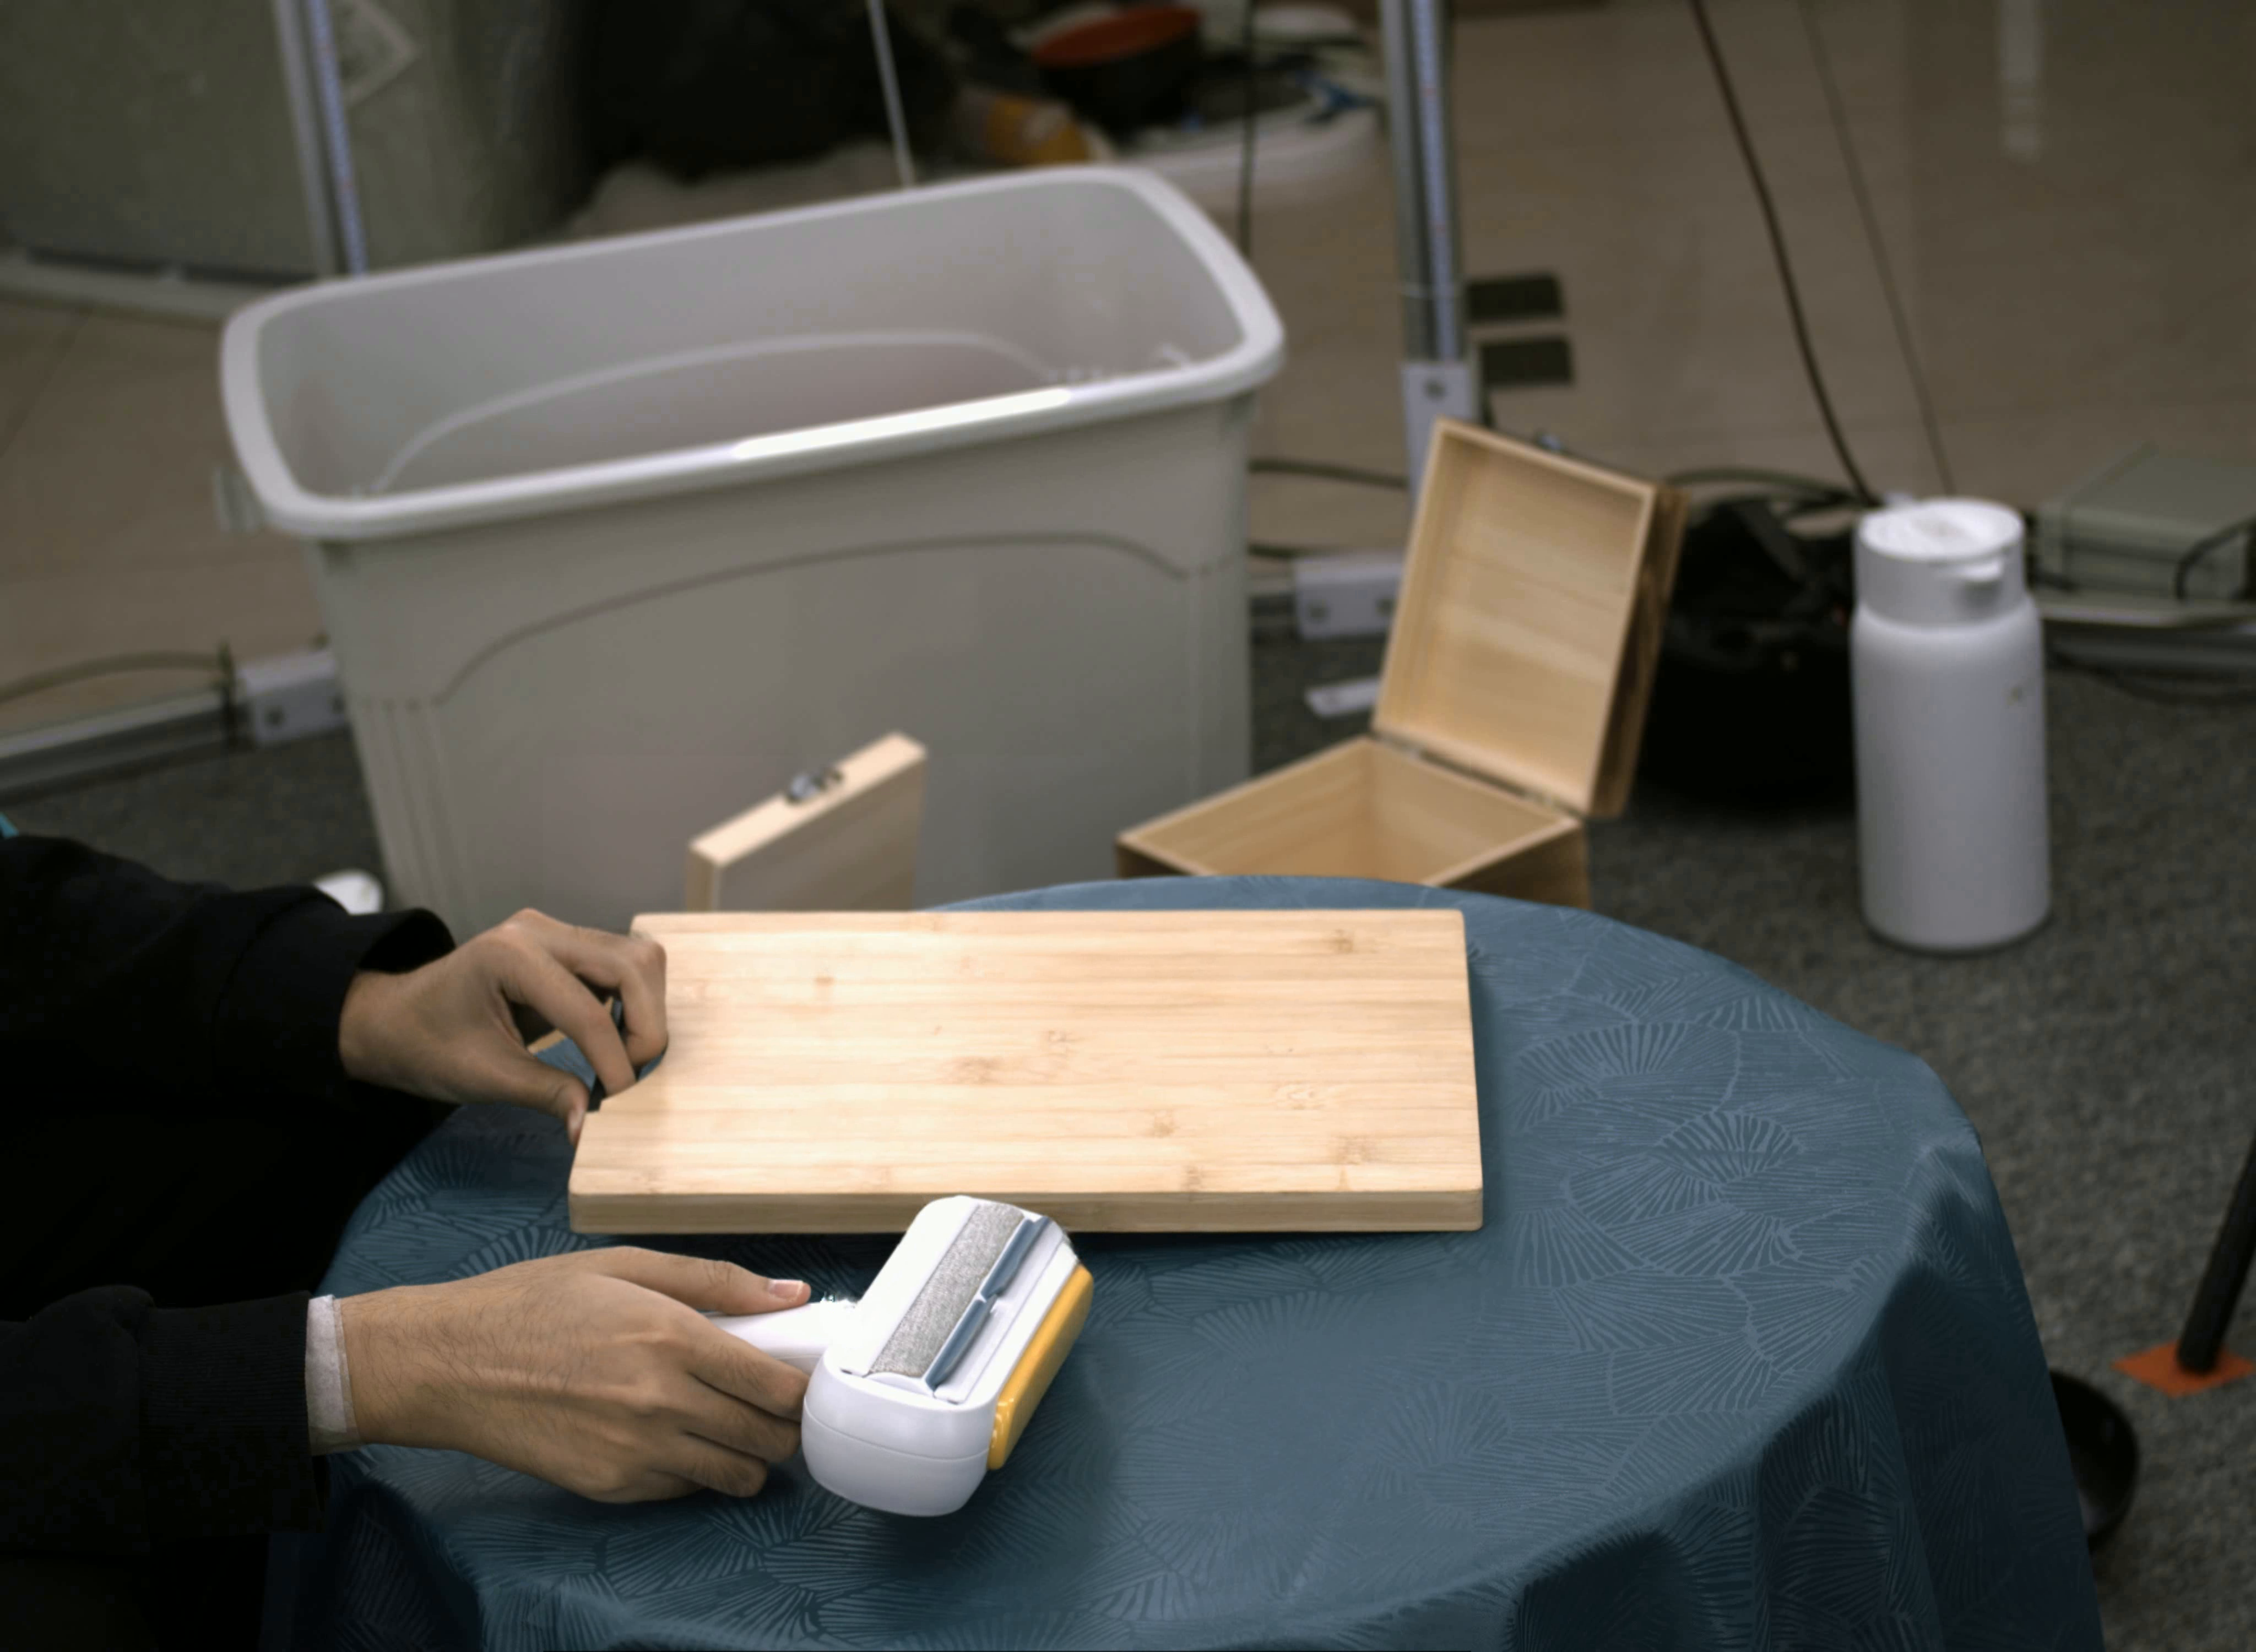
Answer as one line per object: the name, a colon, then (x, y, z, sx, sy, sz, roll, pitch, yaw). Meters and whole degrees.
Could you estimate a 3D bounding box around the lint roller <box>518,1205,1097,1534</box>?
lint roller: (-0.121, 0.183, 1.980, 0.192, 0.075, 0.190, 8, 23, 13)

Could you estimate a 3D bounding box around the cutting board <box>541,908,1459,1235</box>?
cutting board: (-0.042, 0.093, 2.200, 0.348, 0.024, 0.247, 0, 25, 1)
